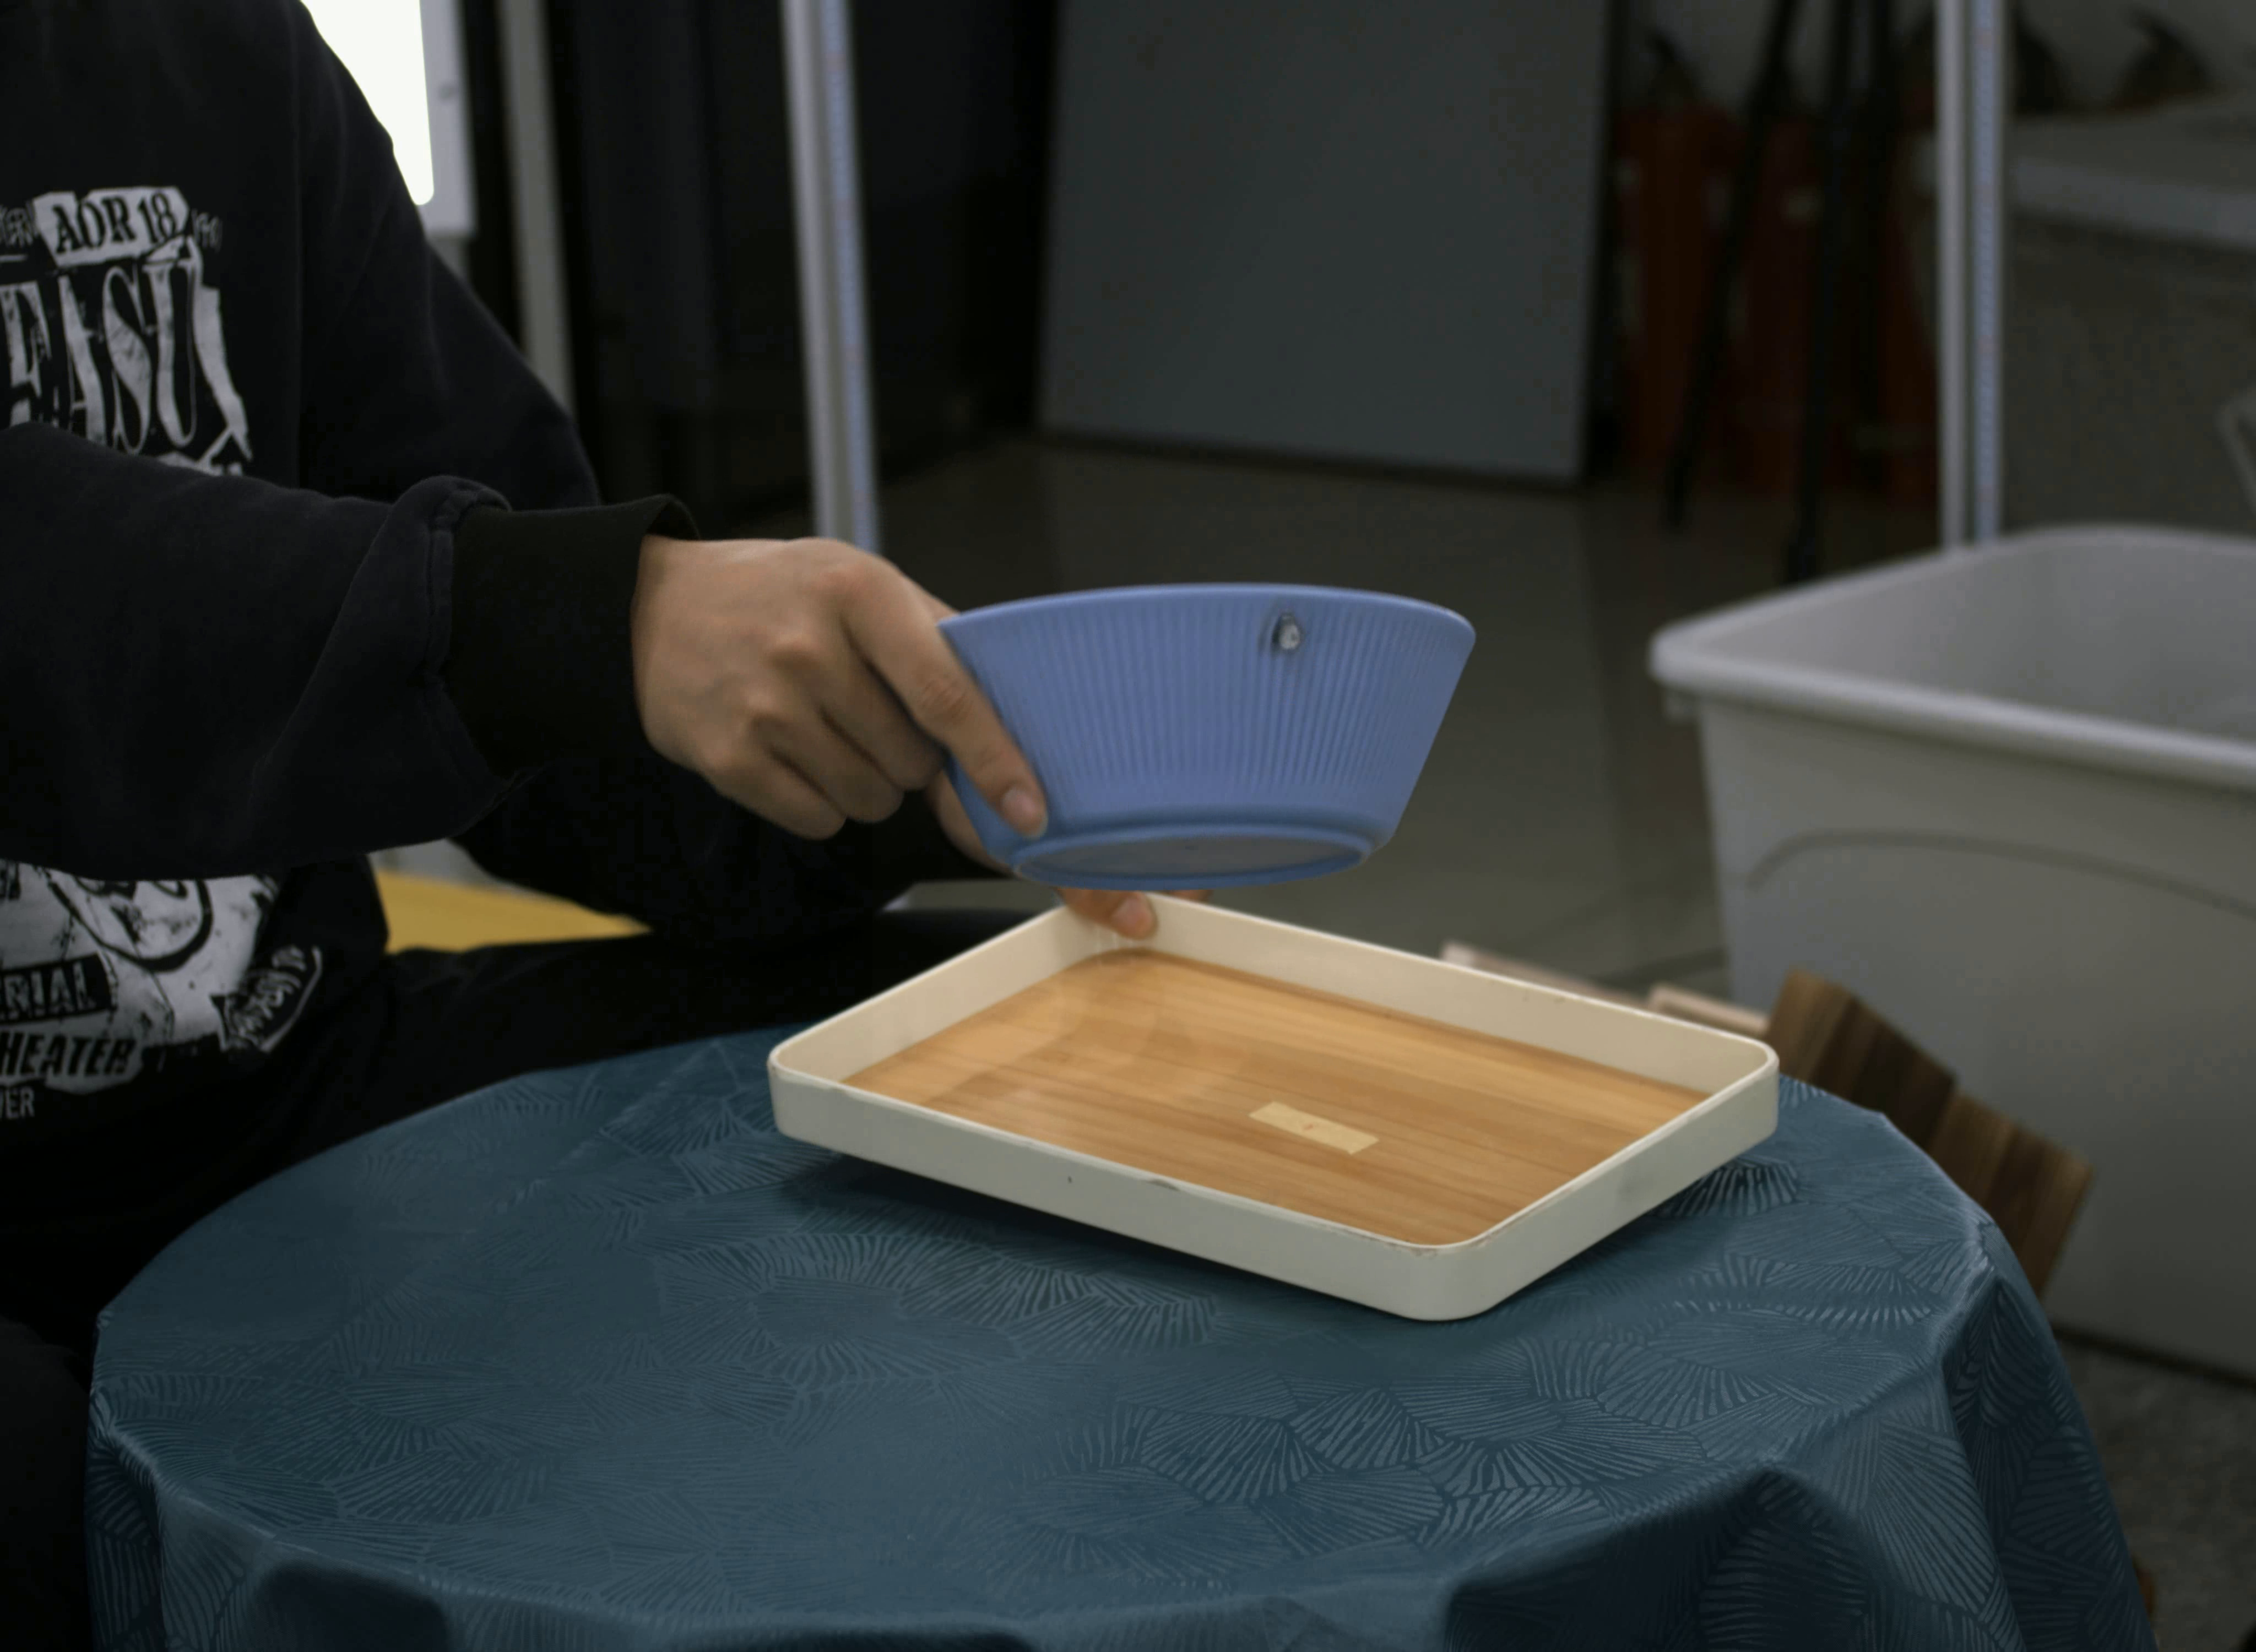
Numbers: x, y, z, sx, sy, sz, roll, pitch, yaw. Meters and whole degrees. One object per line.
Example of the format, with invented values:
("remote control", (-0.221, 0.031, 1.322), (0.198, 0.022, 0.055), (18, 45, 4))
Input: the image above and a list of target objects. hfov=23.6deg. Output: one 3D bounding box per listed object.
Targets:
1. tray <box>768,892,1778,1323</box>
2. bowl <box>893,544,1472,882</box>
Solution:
("tray", (0.046, 0.088, 1.774), (0.303, 0.027, 0.188), (13, 27, 40))
("bowl", (0.017, -0.028, 1.604), (0.173, 0.071, 0.176), (0, -12, -1))
